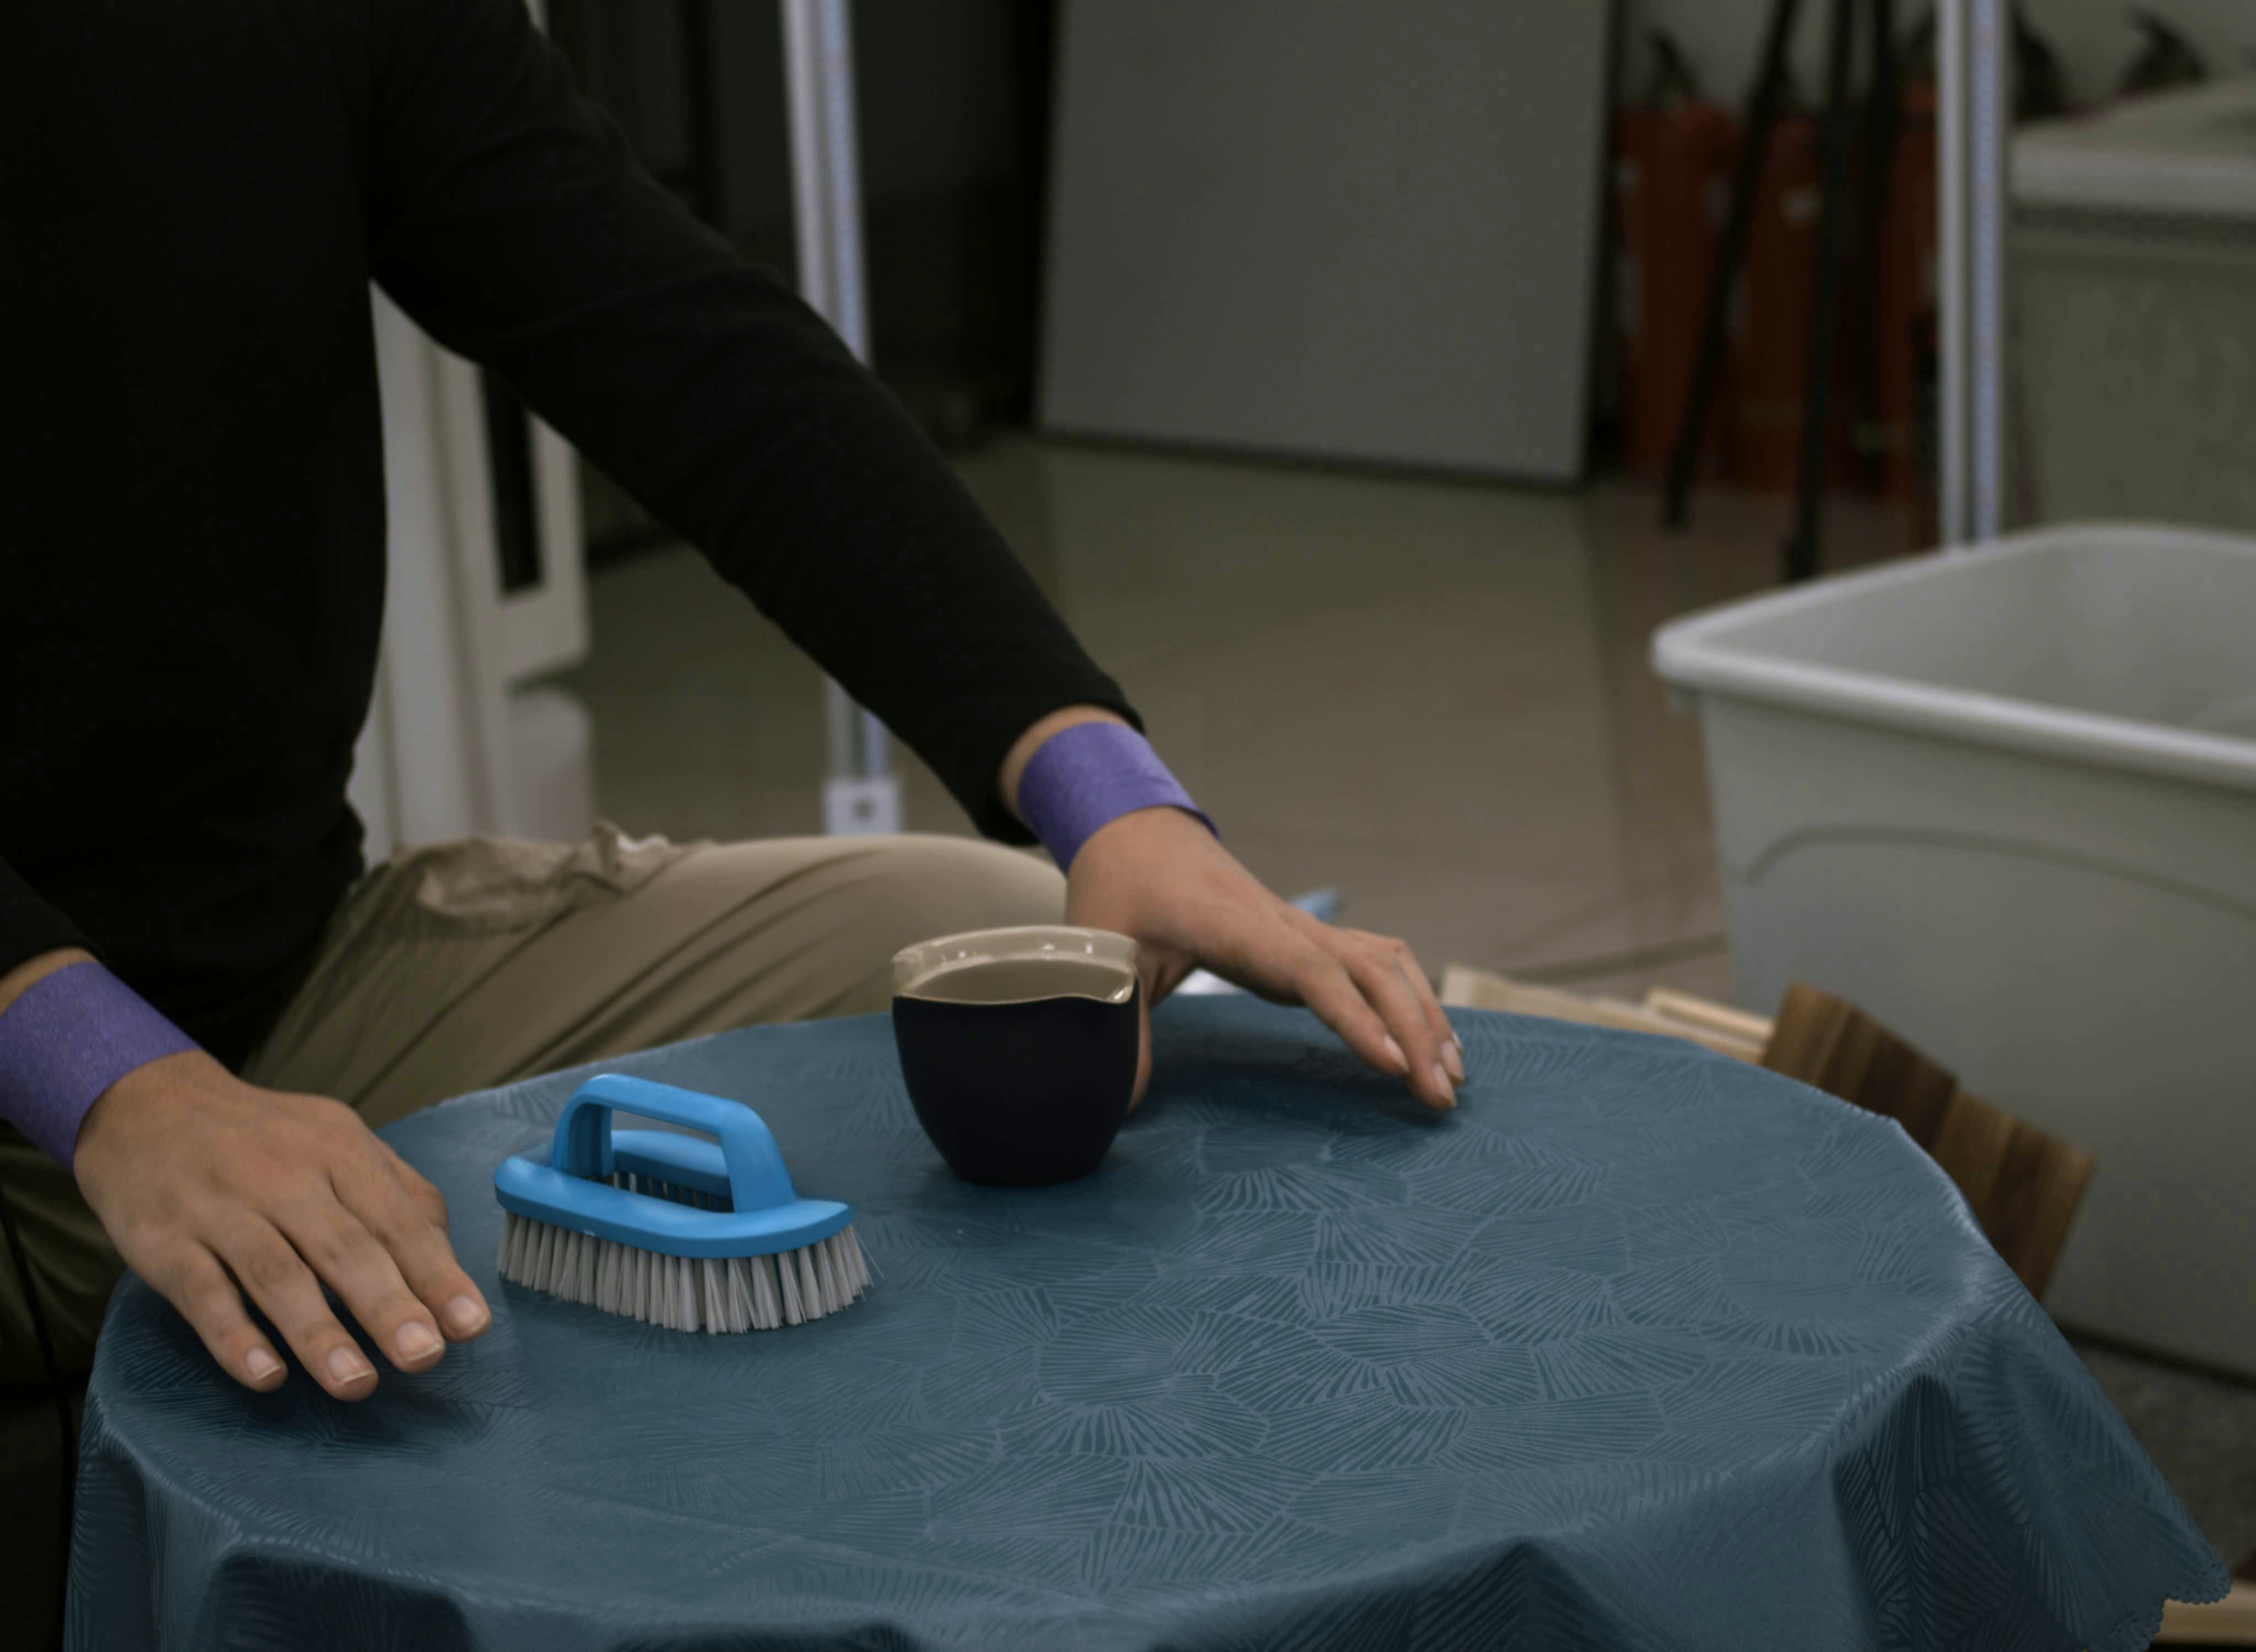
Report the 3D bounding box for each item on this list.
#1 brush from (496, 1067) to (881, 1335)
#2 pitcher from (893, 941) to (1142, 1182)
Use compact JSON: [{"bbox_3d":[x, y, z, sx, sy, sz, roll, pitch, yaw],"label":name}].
[{"bbox_3d":[-0.143,0.111,1.709,0.083,0.064,0.143,-22,21,-41],"label":"brush"},{"bbox_3d":[-0.033,0.078,1.795,0.082,0.072,0.097,-11,17,-33],"label":"pitcher"}]
